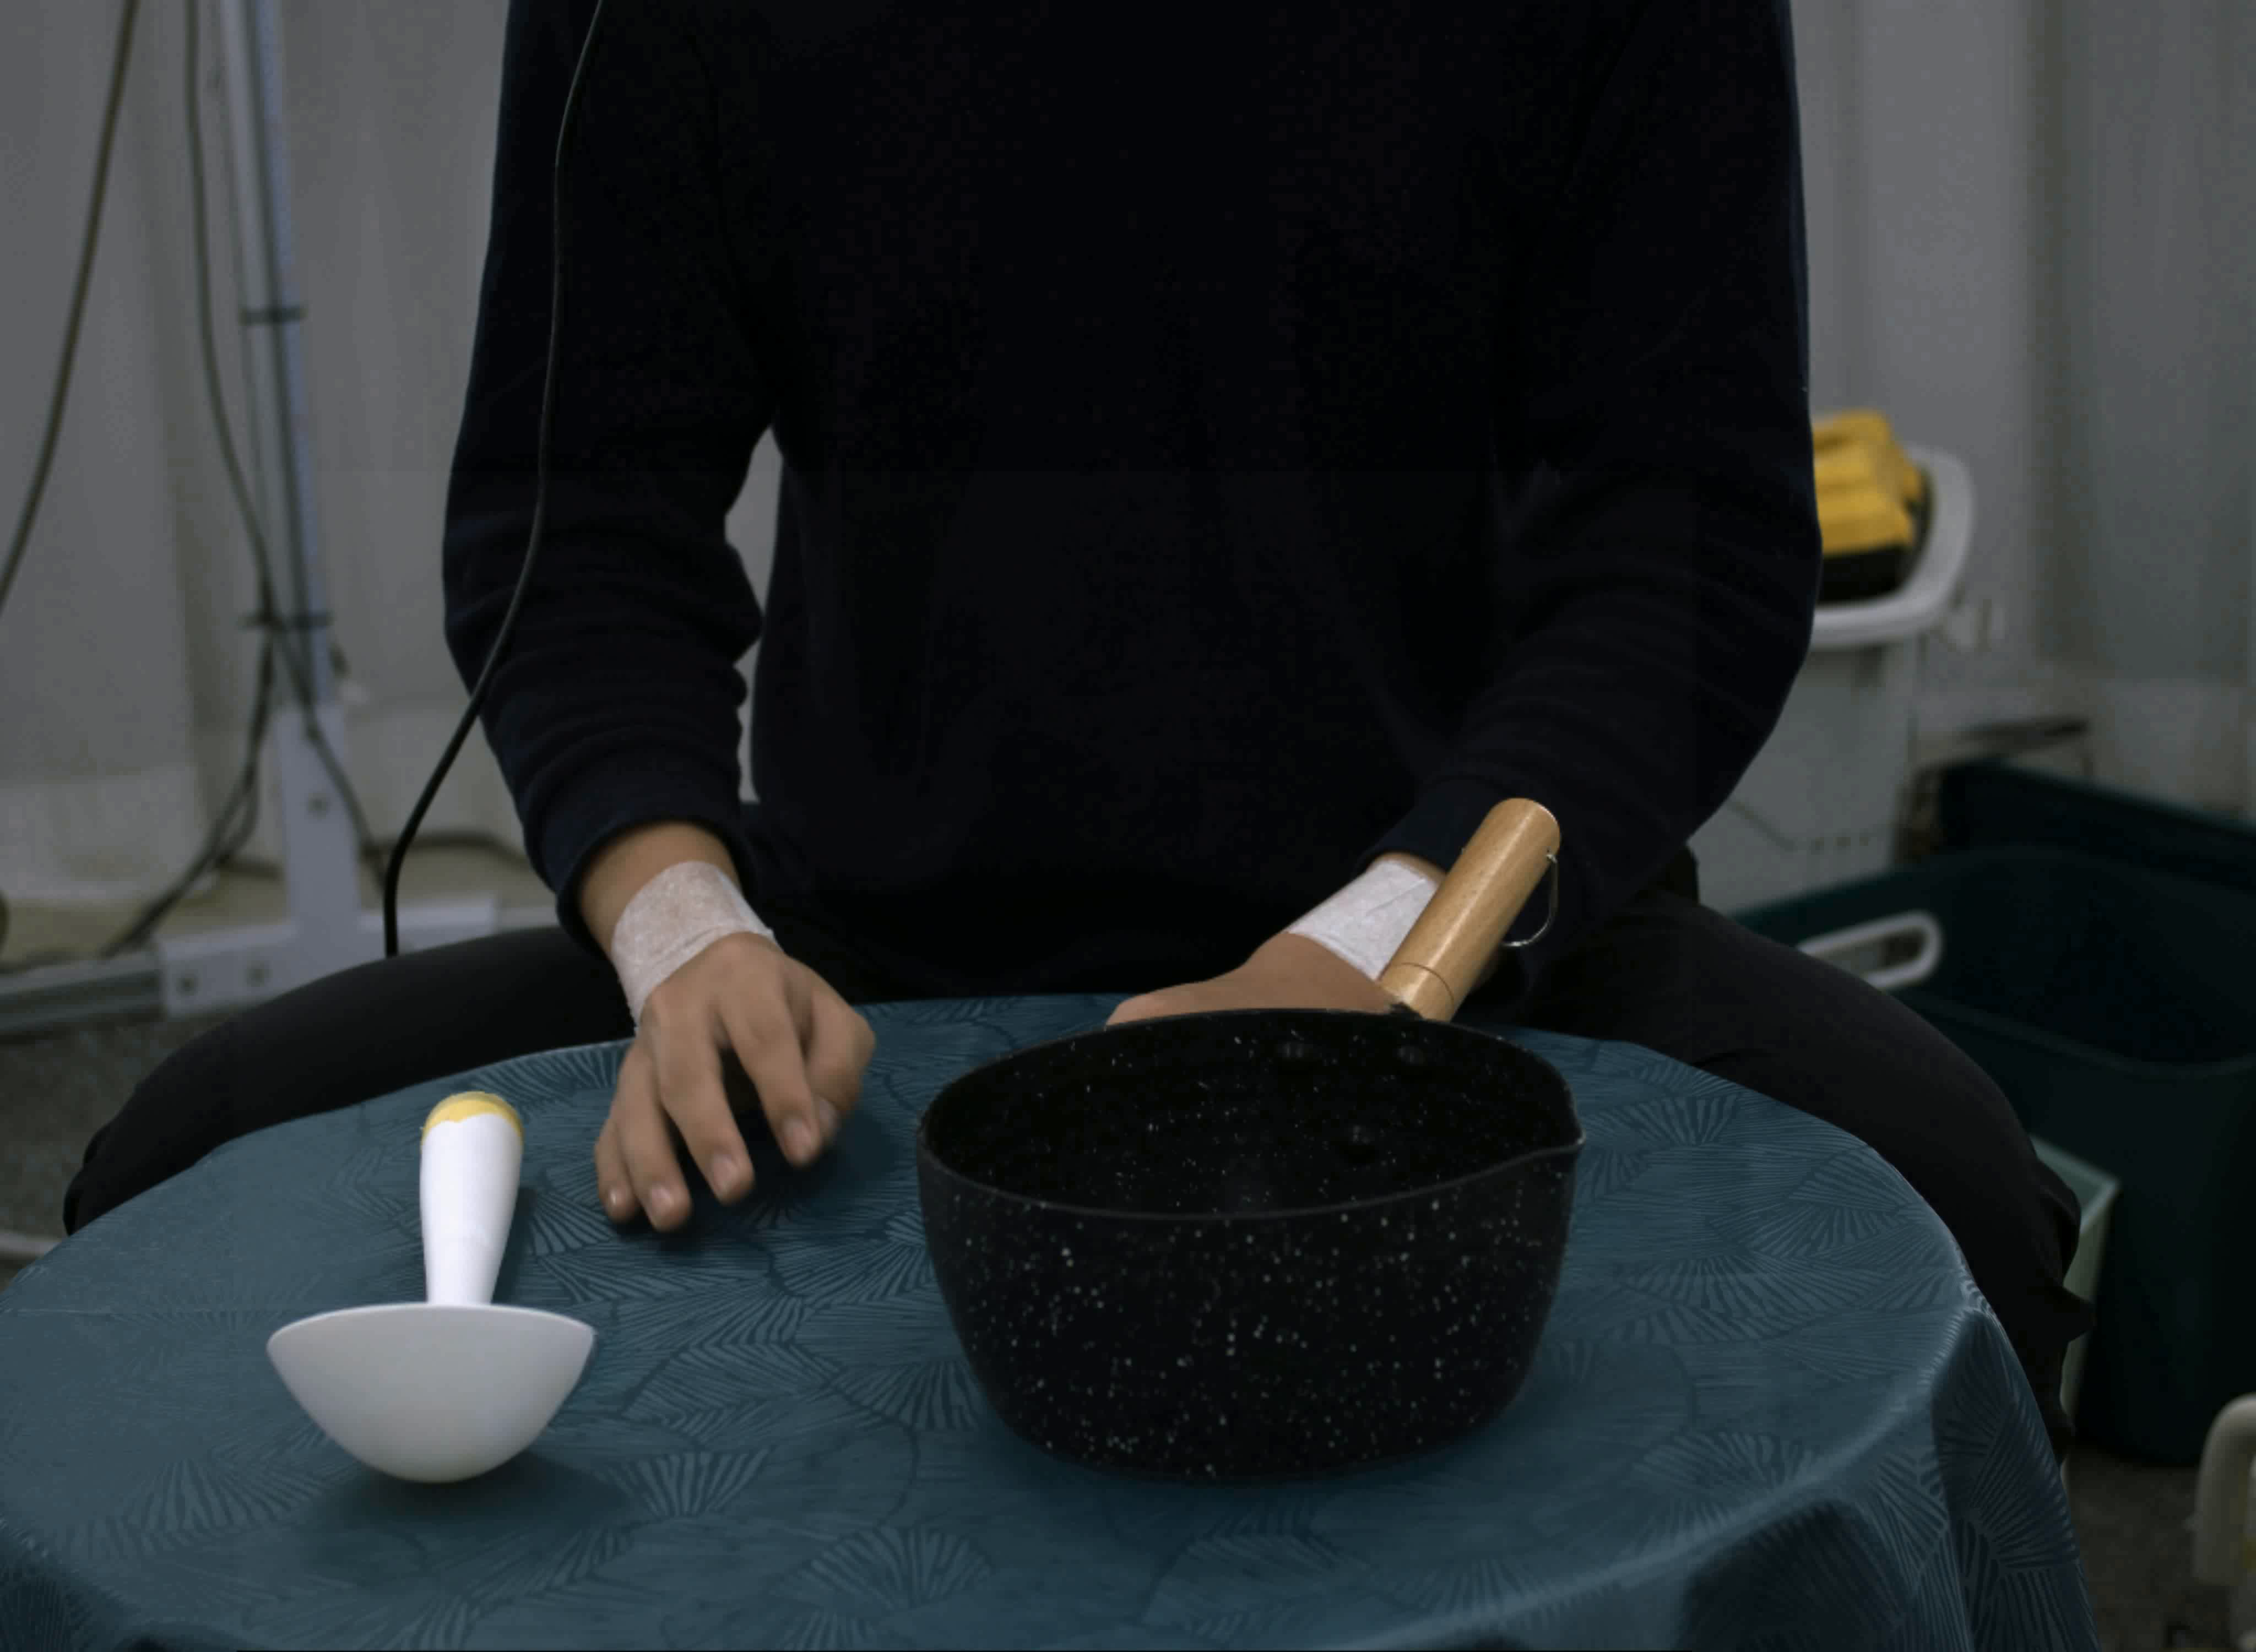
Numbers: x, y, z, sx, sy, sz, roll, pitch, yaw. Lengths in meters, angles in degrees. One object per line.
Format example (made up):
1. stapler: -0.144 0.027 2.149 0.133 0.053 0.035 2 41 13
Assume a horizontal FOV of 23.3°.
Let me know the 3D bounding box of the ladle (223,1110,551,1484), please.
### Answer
1. ladle: -0.206 0.123 1.603 0.090 0.069 0.295 -9 14 -1

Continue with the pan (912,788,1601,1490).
1. pan: 0.063 0.086 1.602 0.207 0.108 0.344 2 17 22
